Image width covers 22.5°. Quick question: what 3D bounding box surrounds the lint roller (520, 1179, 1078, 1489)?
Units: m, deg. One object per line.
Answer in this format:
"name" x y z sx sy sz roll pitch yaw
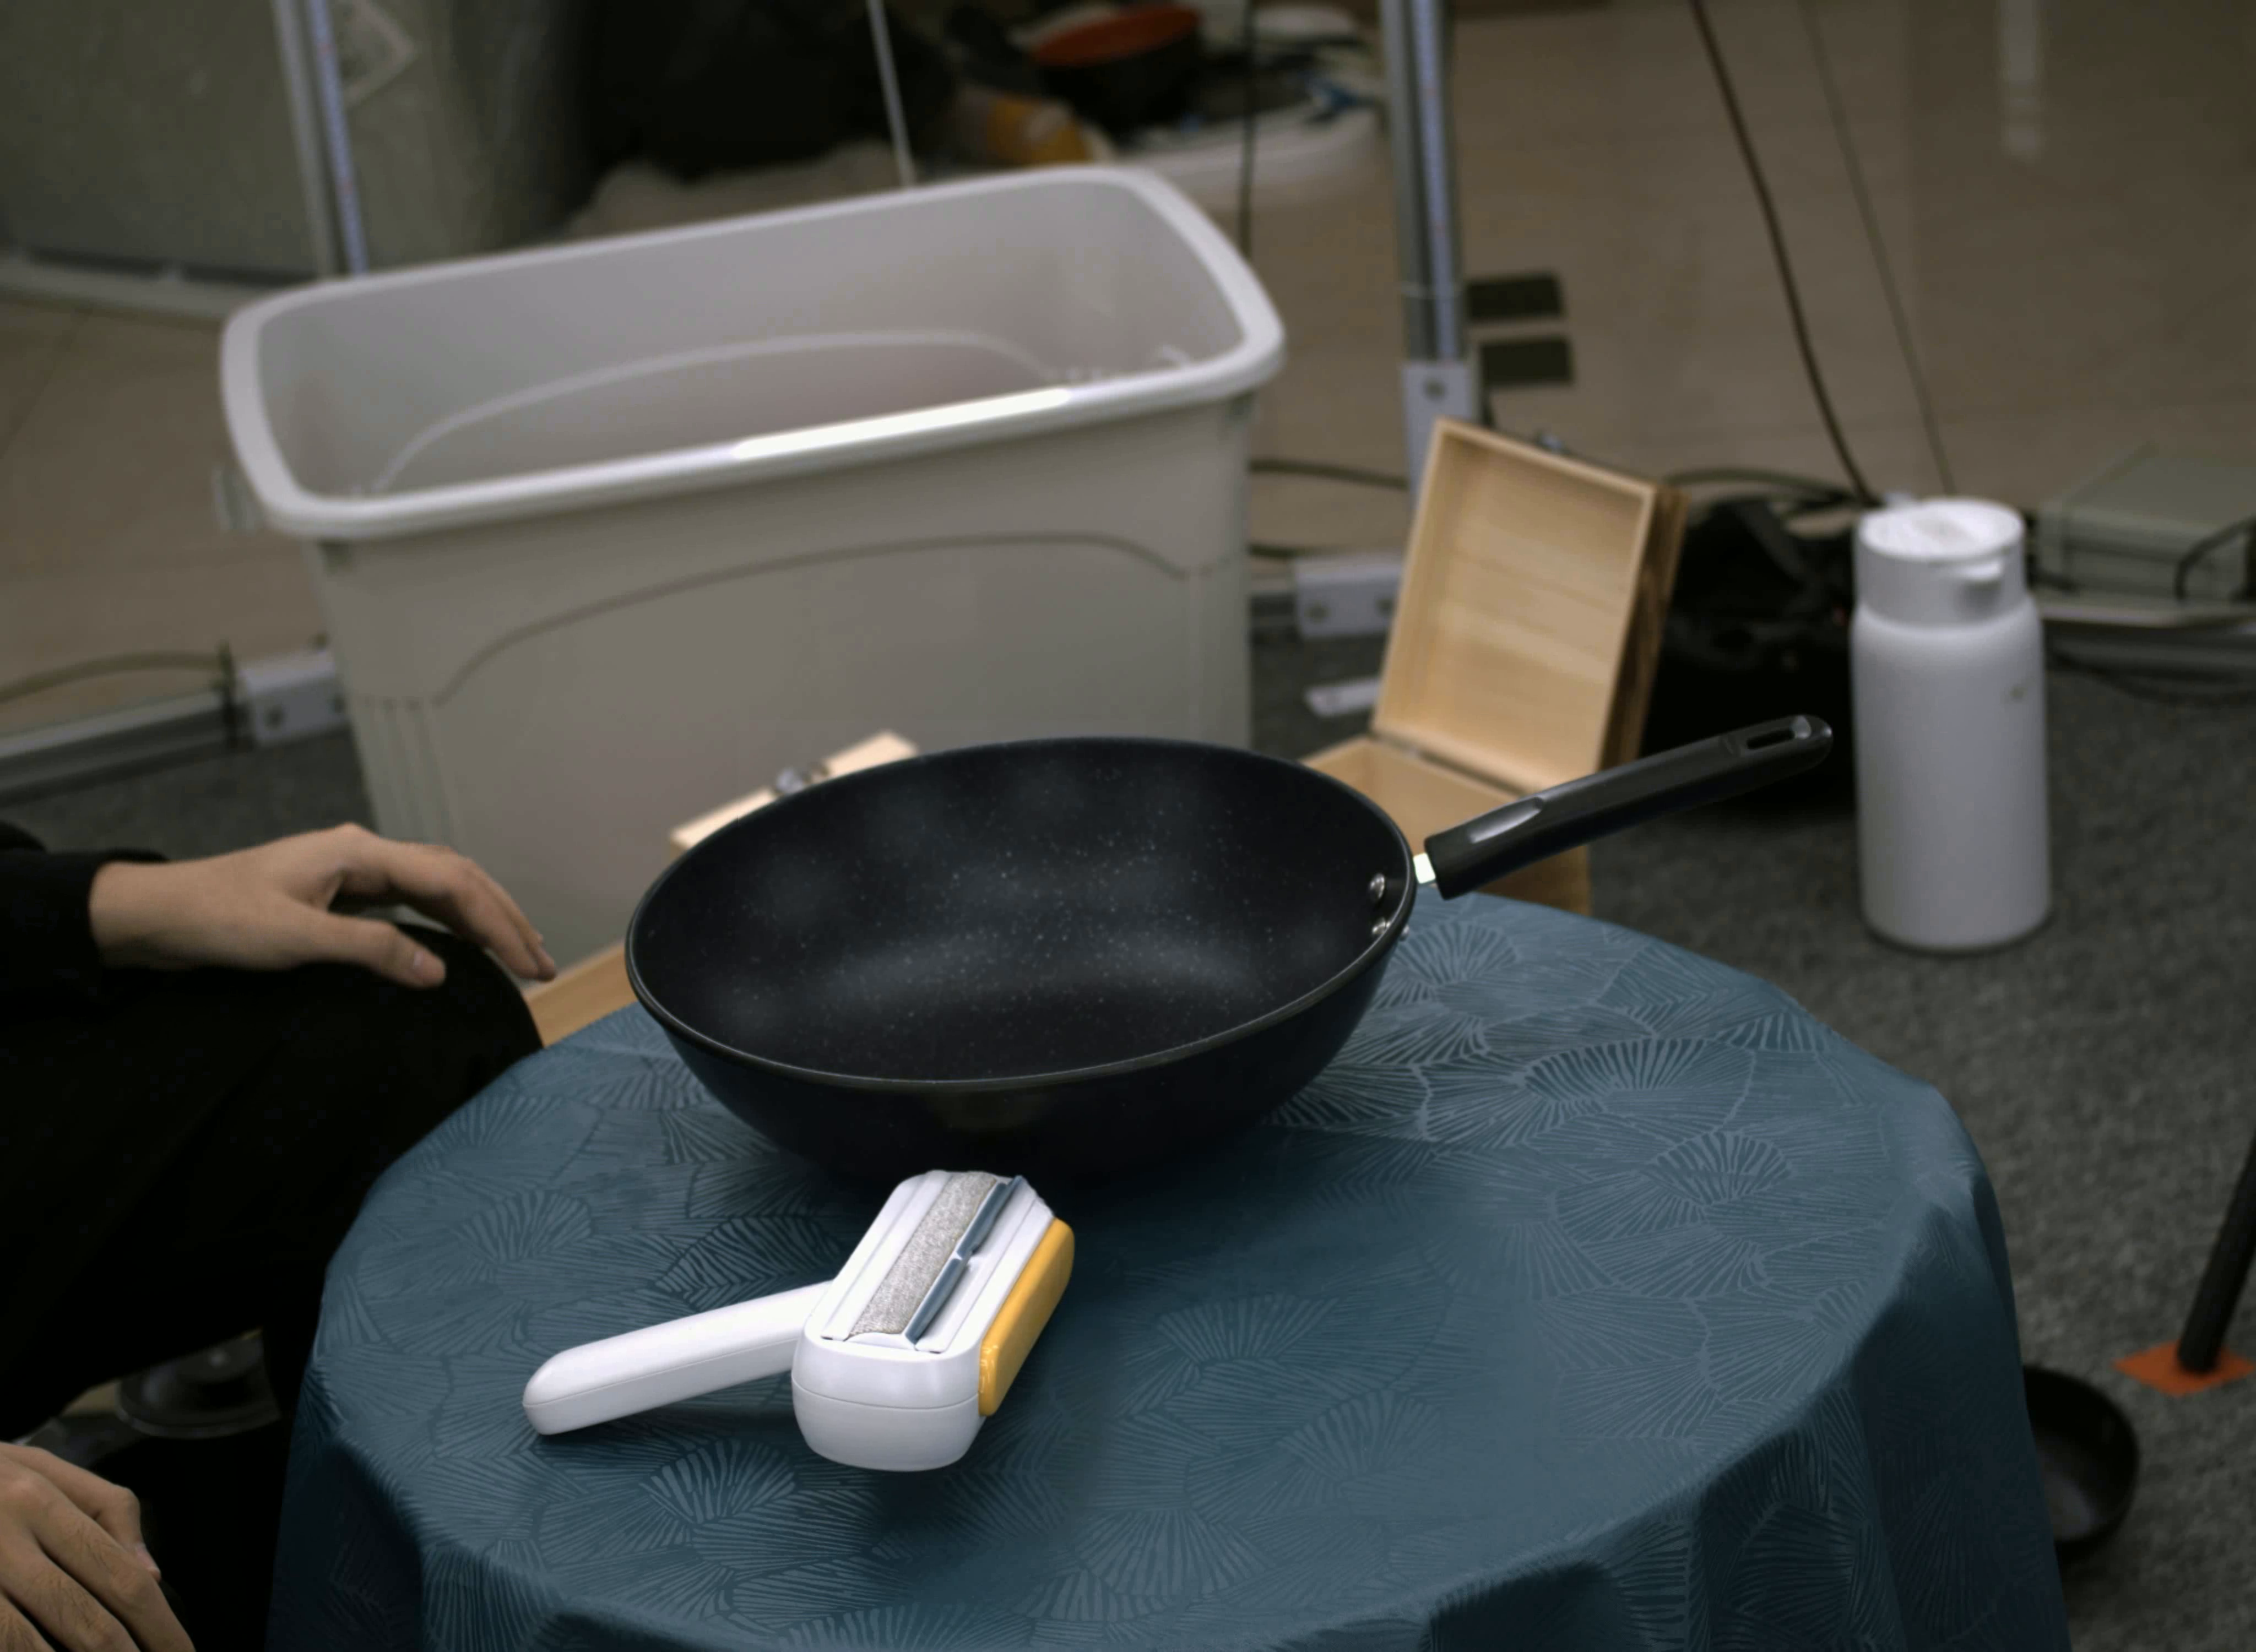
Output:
"lint roller" -0.126 0.182 2.002 0.192 0.075 0.190 -1 20 15

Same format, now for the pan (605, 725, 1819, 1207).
"pan" 0.037 0.046 2.205 0.476 0.113 0.305 -8 27 -3
